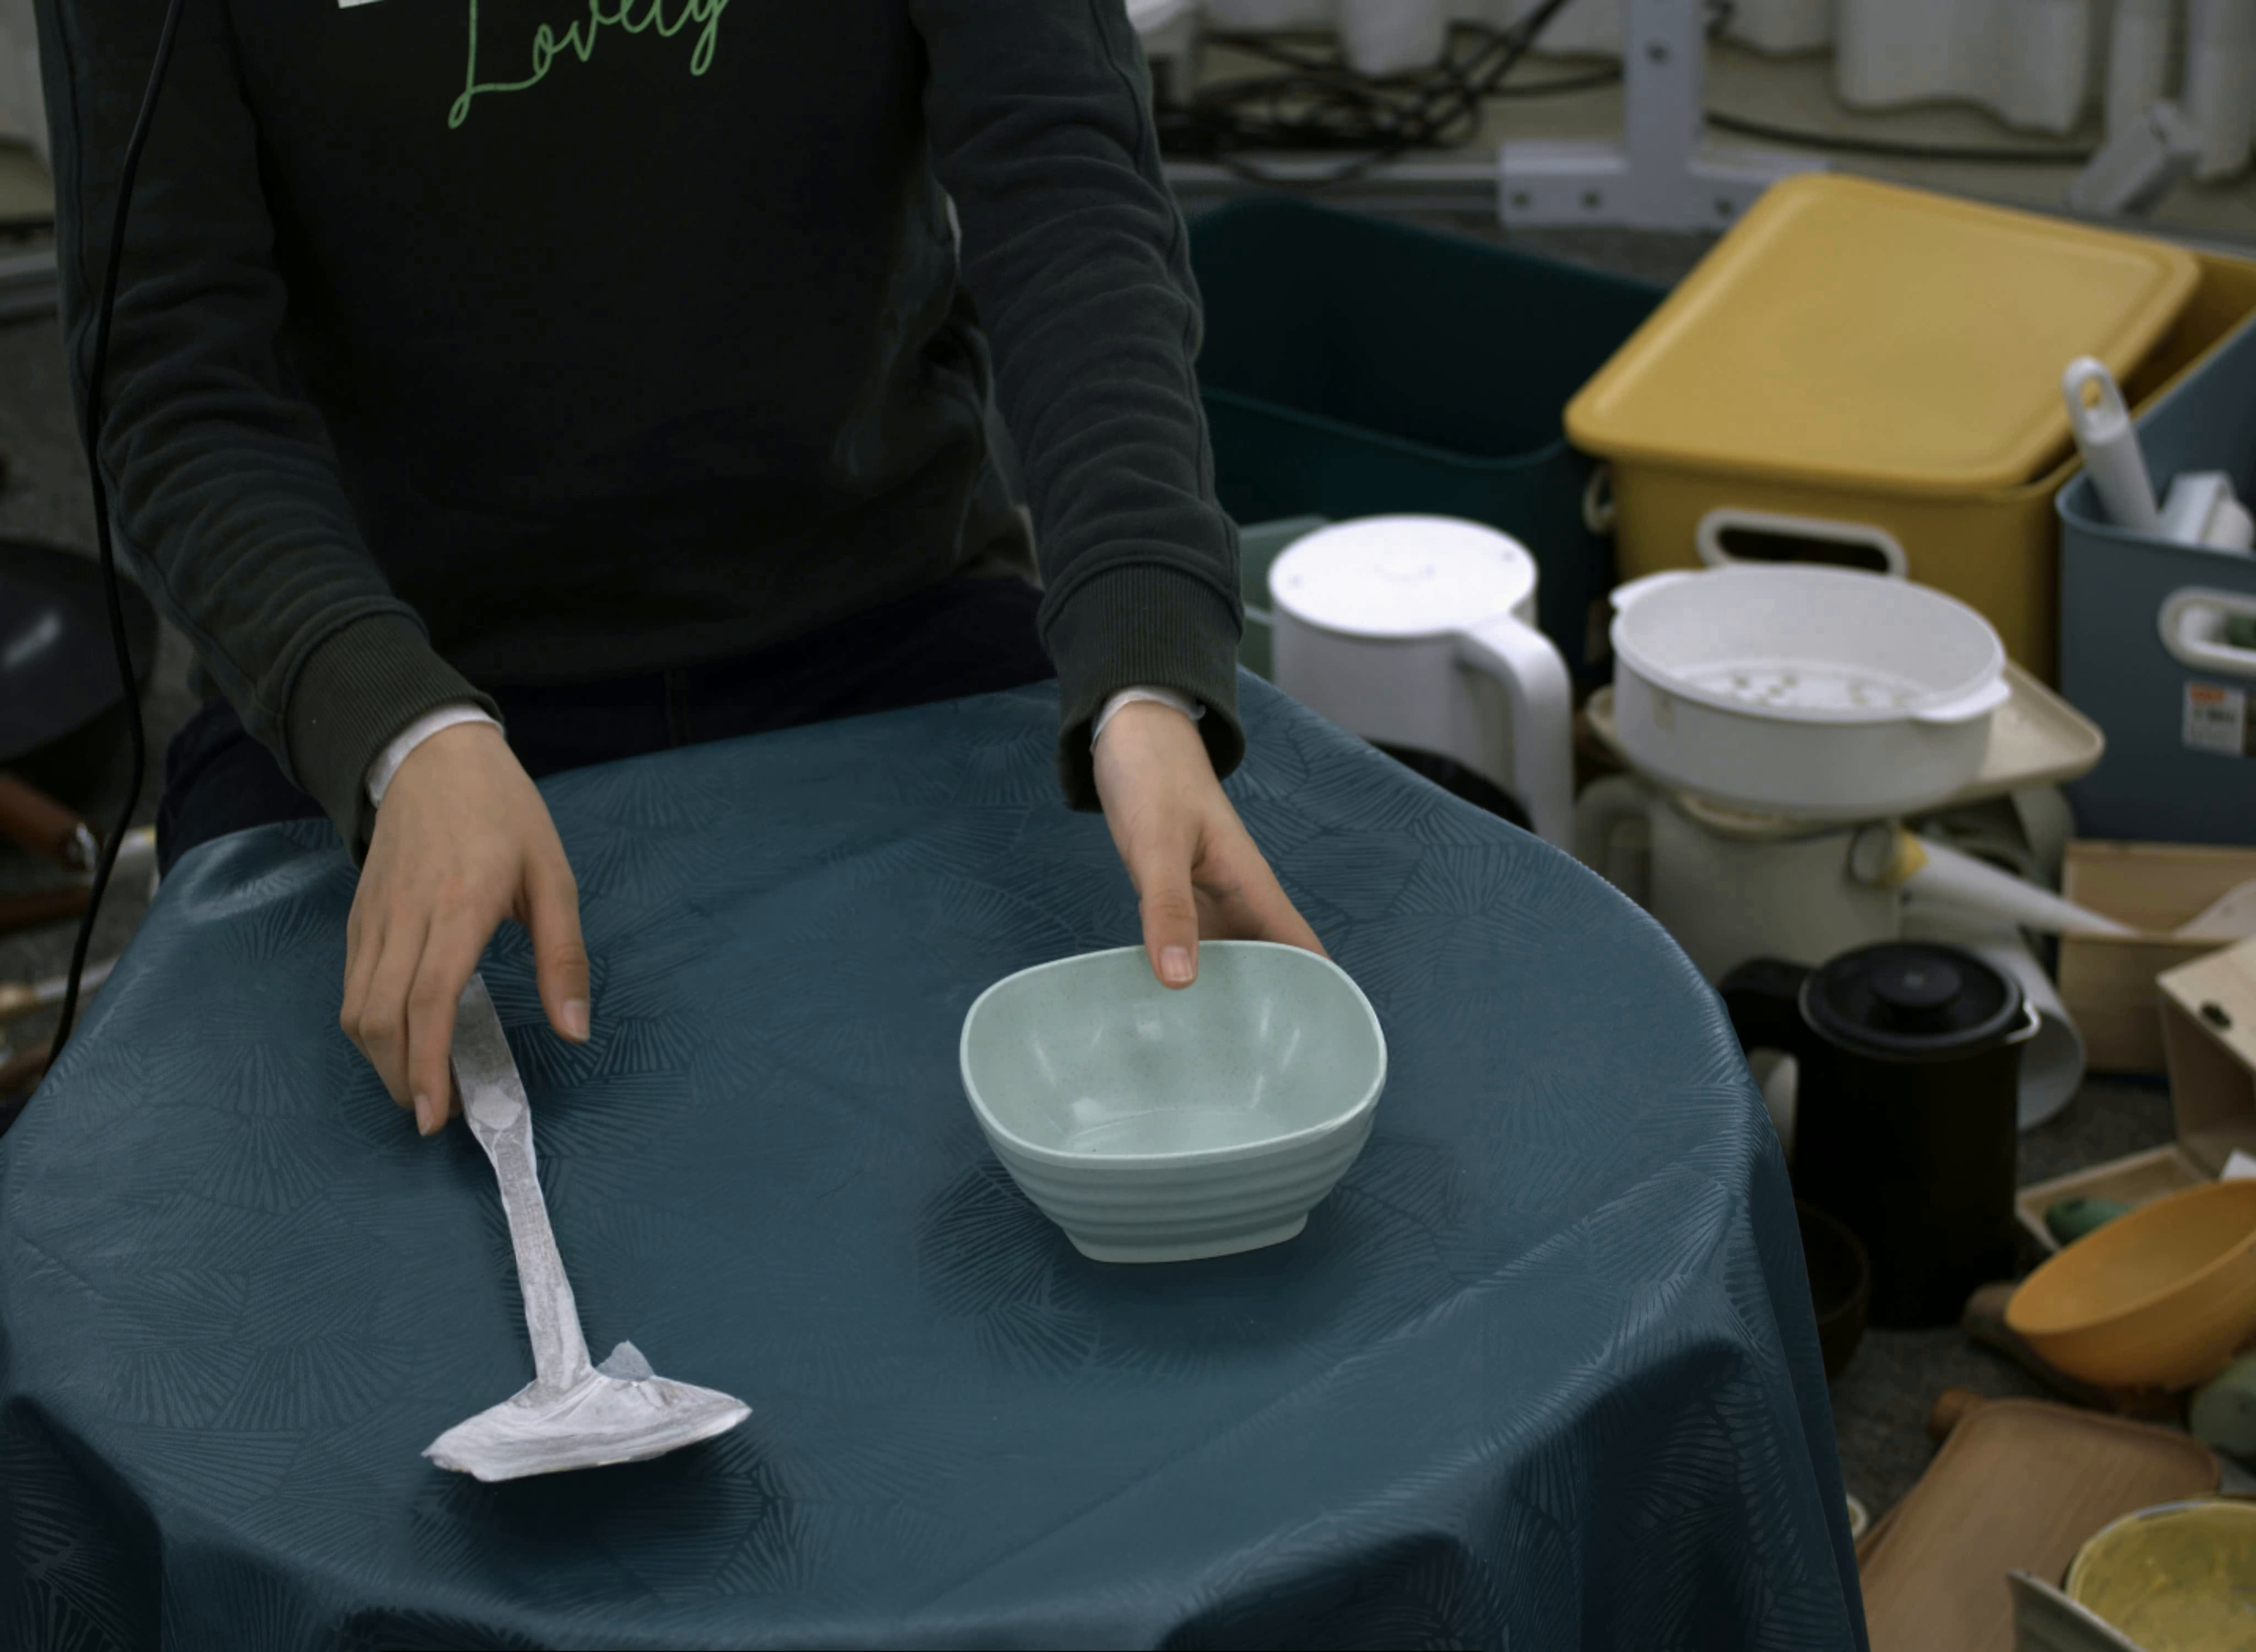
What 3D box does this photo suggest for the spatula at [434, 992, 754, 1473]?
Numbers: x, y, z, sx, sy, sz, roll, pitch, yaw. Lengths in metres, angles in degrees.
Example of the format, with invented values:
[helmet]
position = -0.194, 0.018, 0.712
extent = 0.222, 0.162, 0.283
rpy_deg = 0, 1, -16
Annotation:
[spatula]
position = -0.192, 0.125, 1.833
extent = 0.098, 0.044, 0.369
rpy_deg = -10, 28, -9

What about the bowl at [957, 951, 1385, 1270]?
[bowl]
position = 0.015, 0.099, 1.847
extent = 0.151, 0.058, 0.154
rpy_deg = -1, 26, 1
